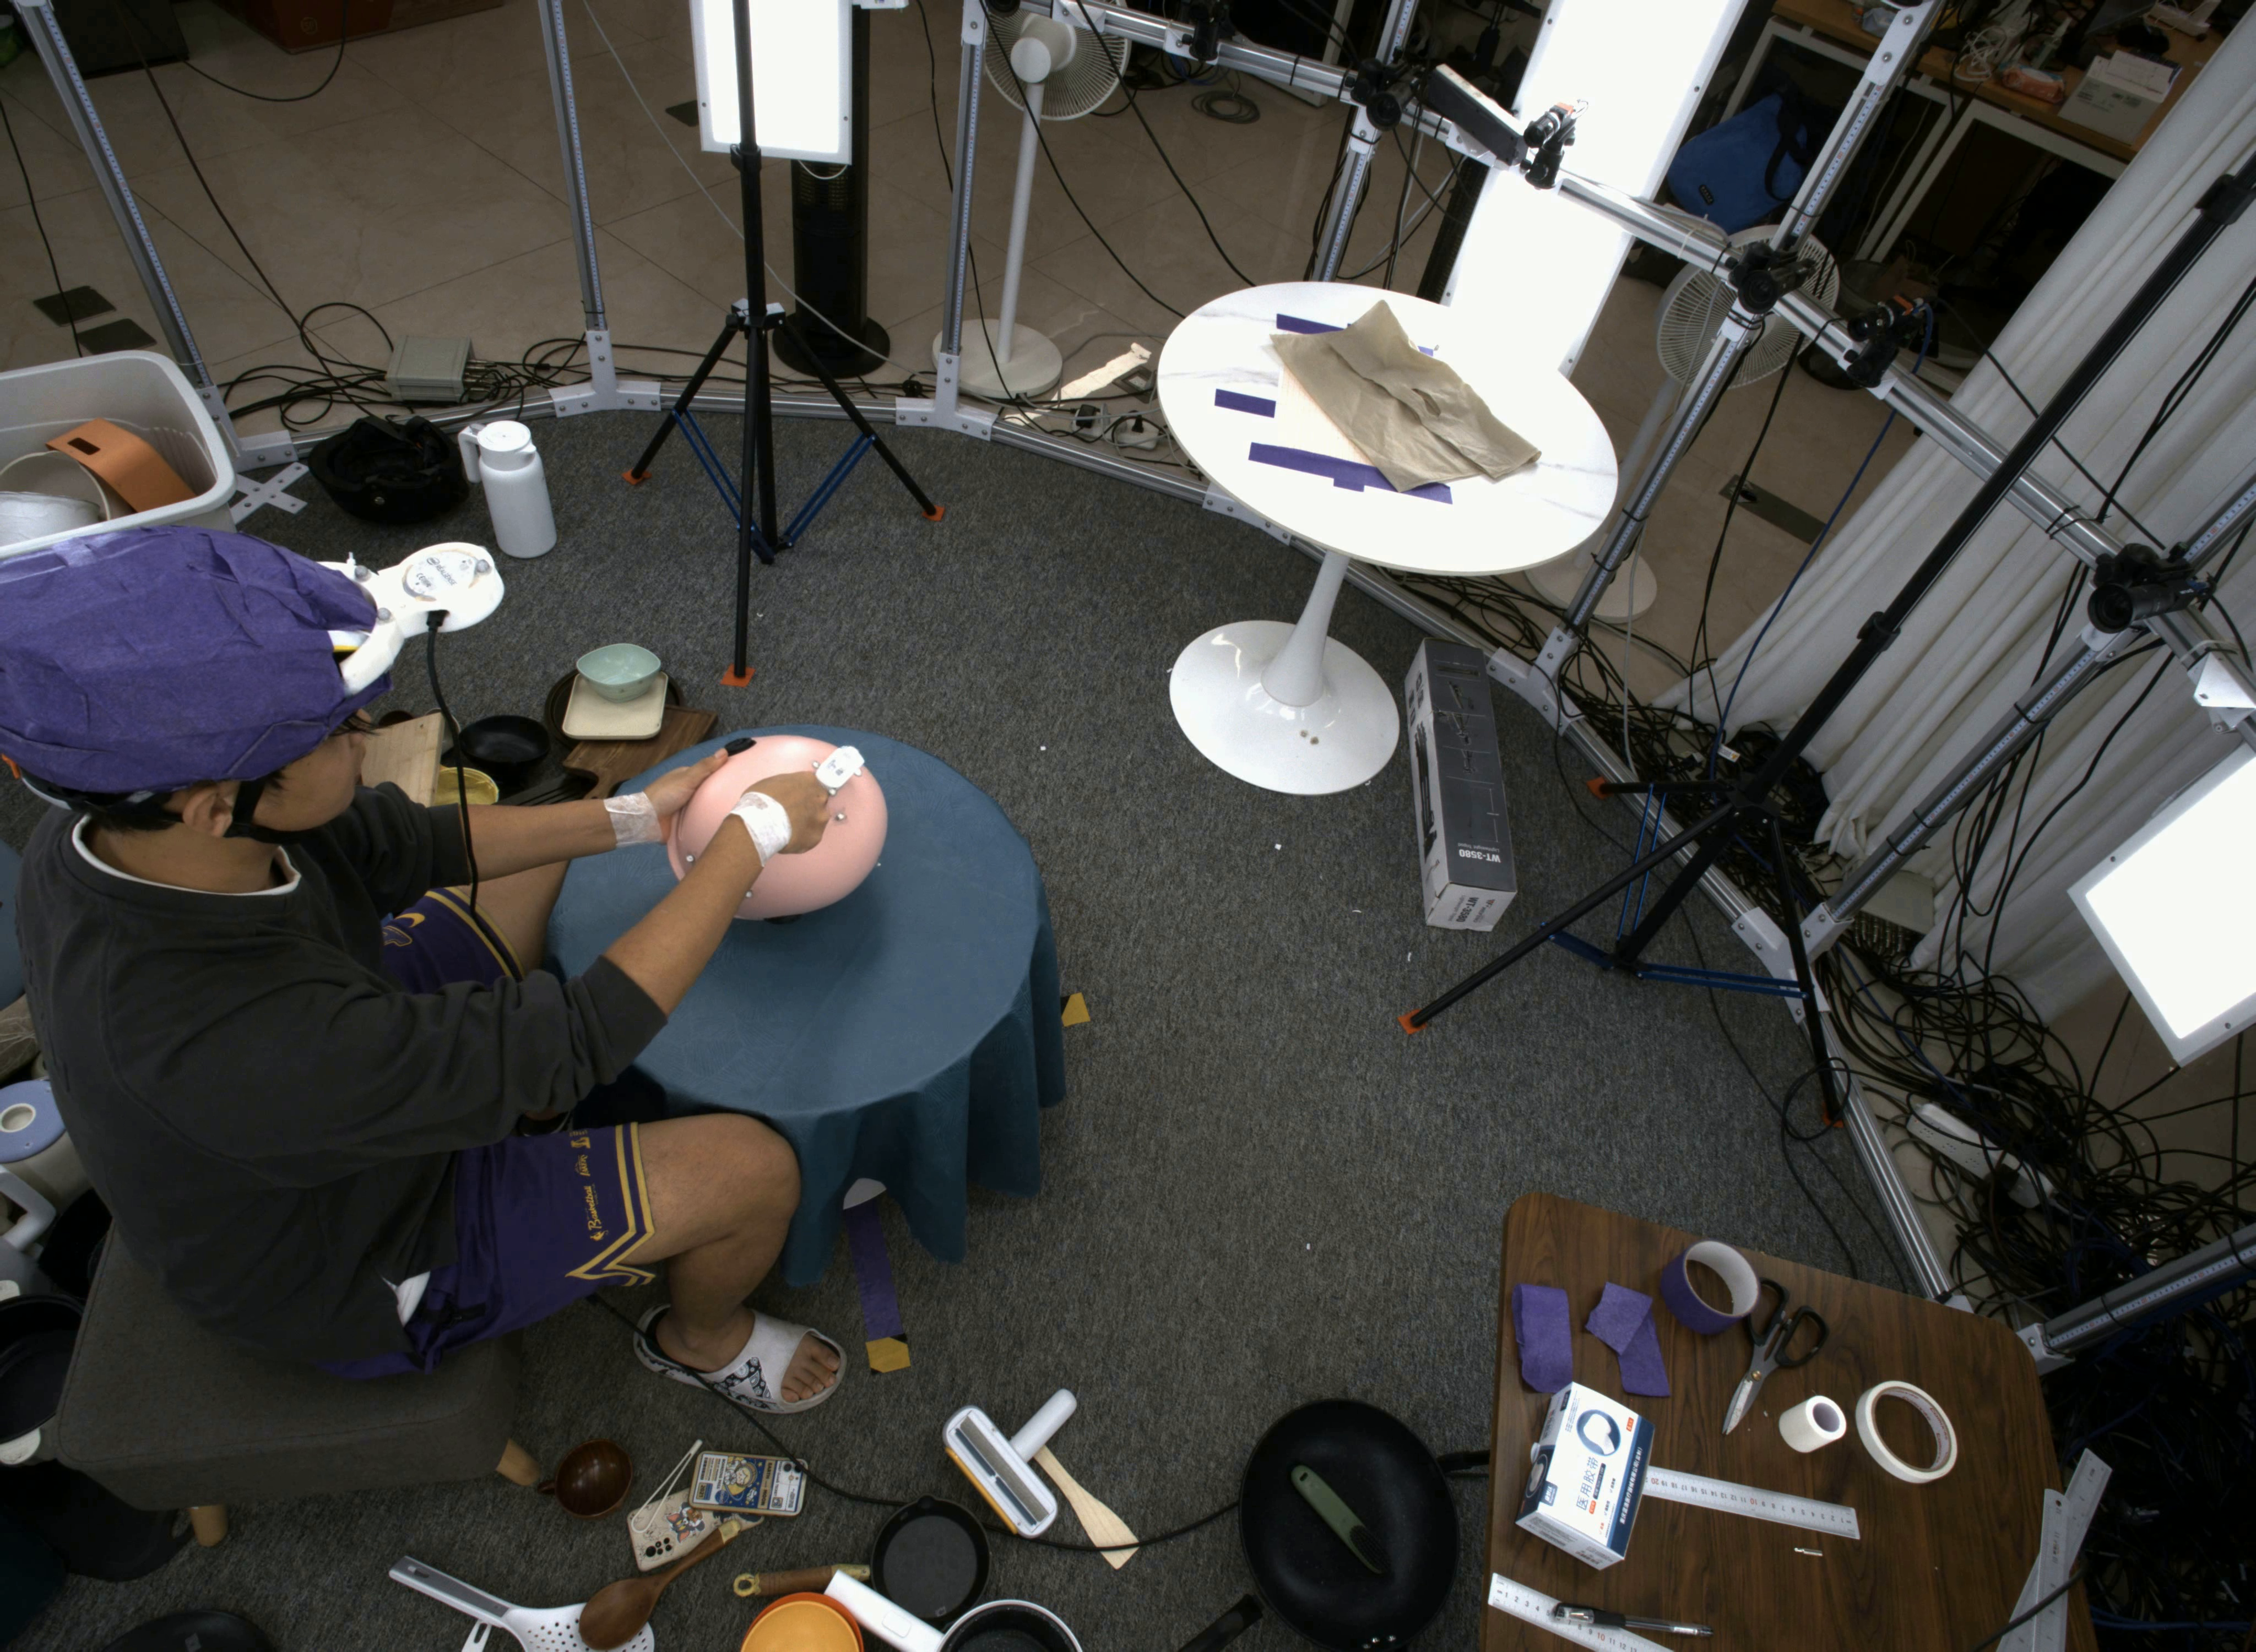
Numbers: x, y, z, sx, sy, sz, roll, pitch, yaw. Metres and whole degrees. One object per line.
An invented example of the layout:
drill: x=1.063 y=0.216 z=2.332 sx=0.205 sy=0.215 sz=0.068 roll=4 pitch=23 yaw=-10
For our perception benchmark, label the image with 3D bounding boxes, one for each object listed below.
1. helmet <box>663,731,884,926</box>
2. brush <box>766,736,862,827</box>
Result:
helmet: x=-0.404 y=-0.001 z=1.543 sx=0.268 sy=0.154 sz=0.239 roll=-21 pitch=104 yaw=-36
brush: x=-0.349 y=-0.039 z=1.407 sx=0.035 sy=0.050 sz=0.241 roll=42 pitch=22 yaw=-9
